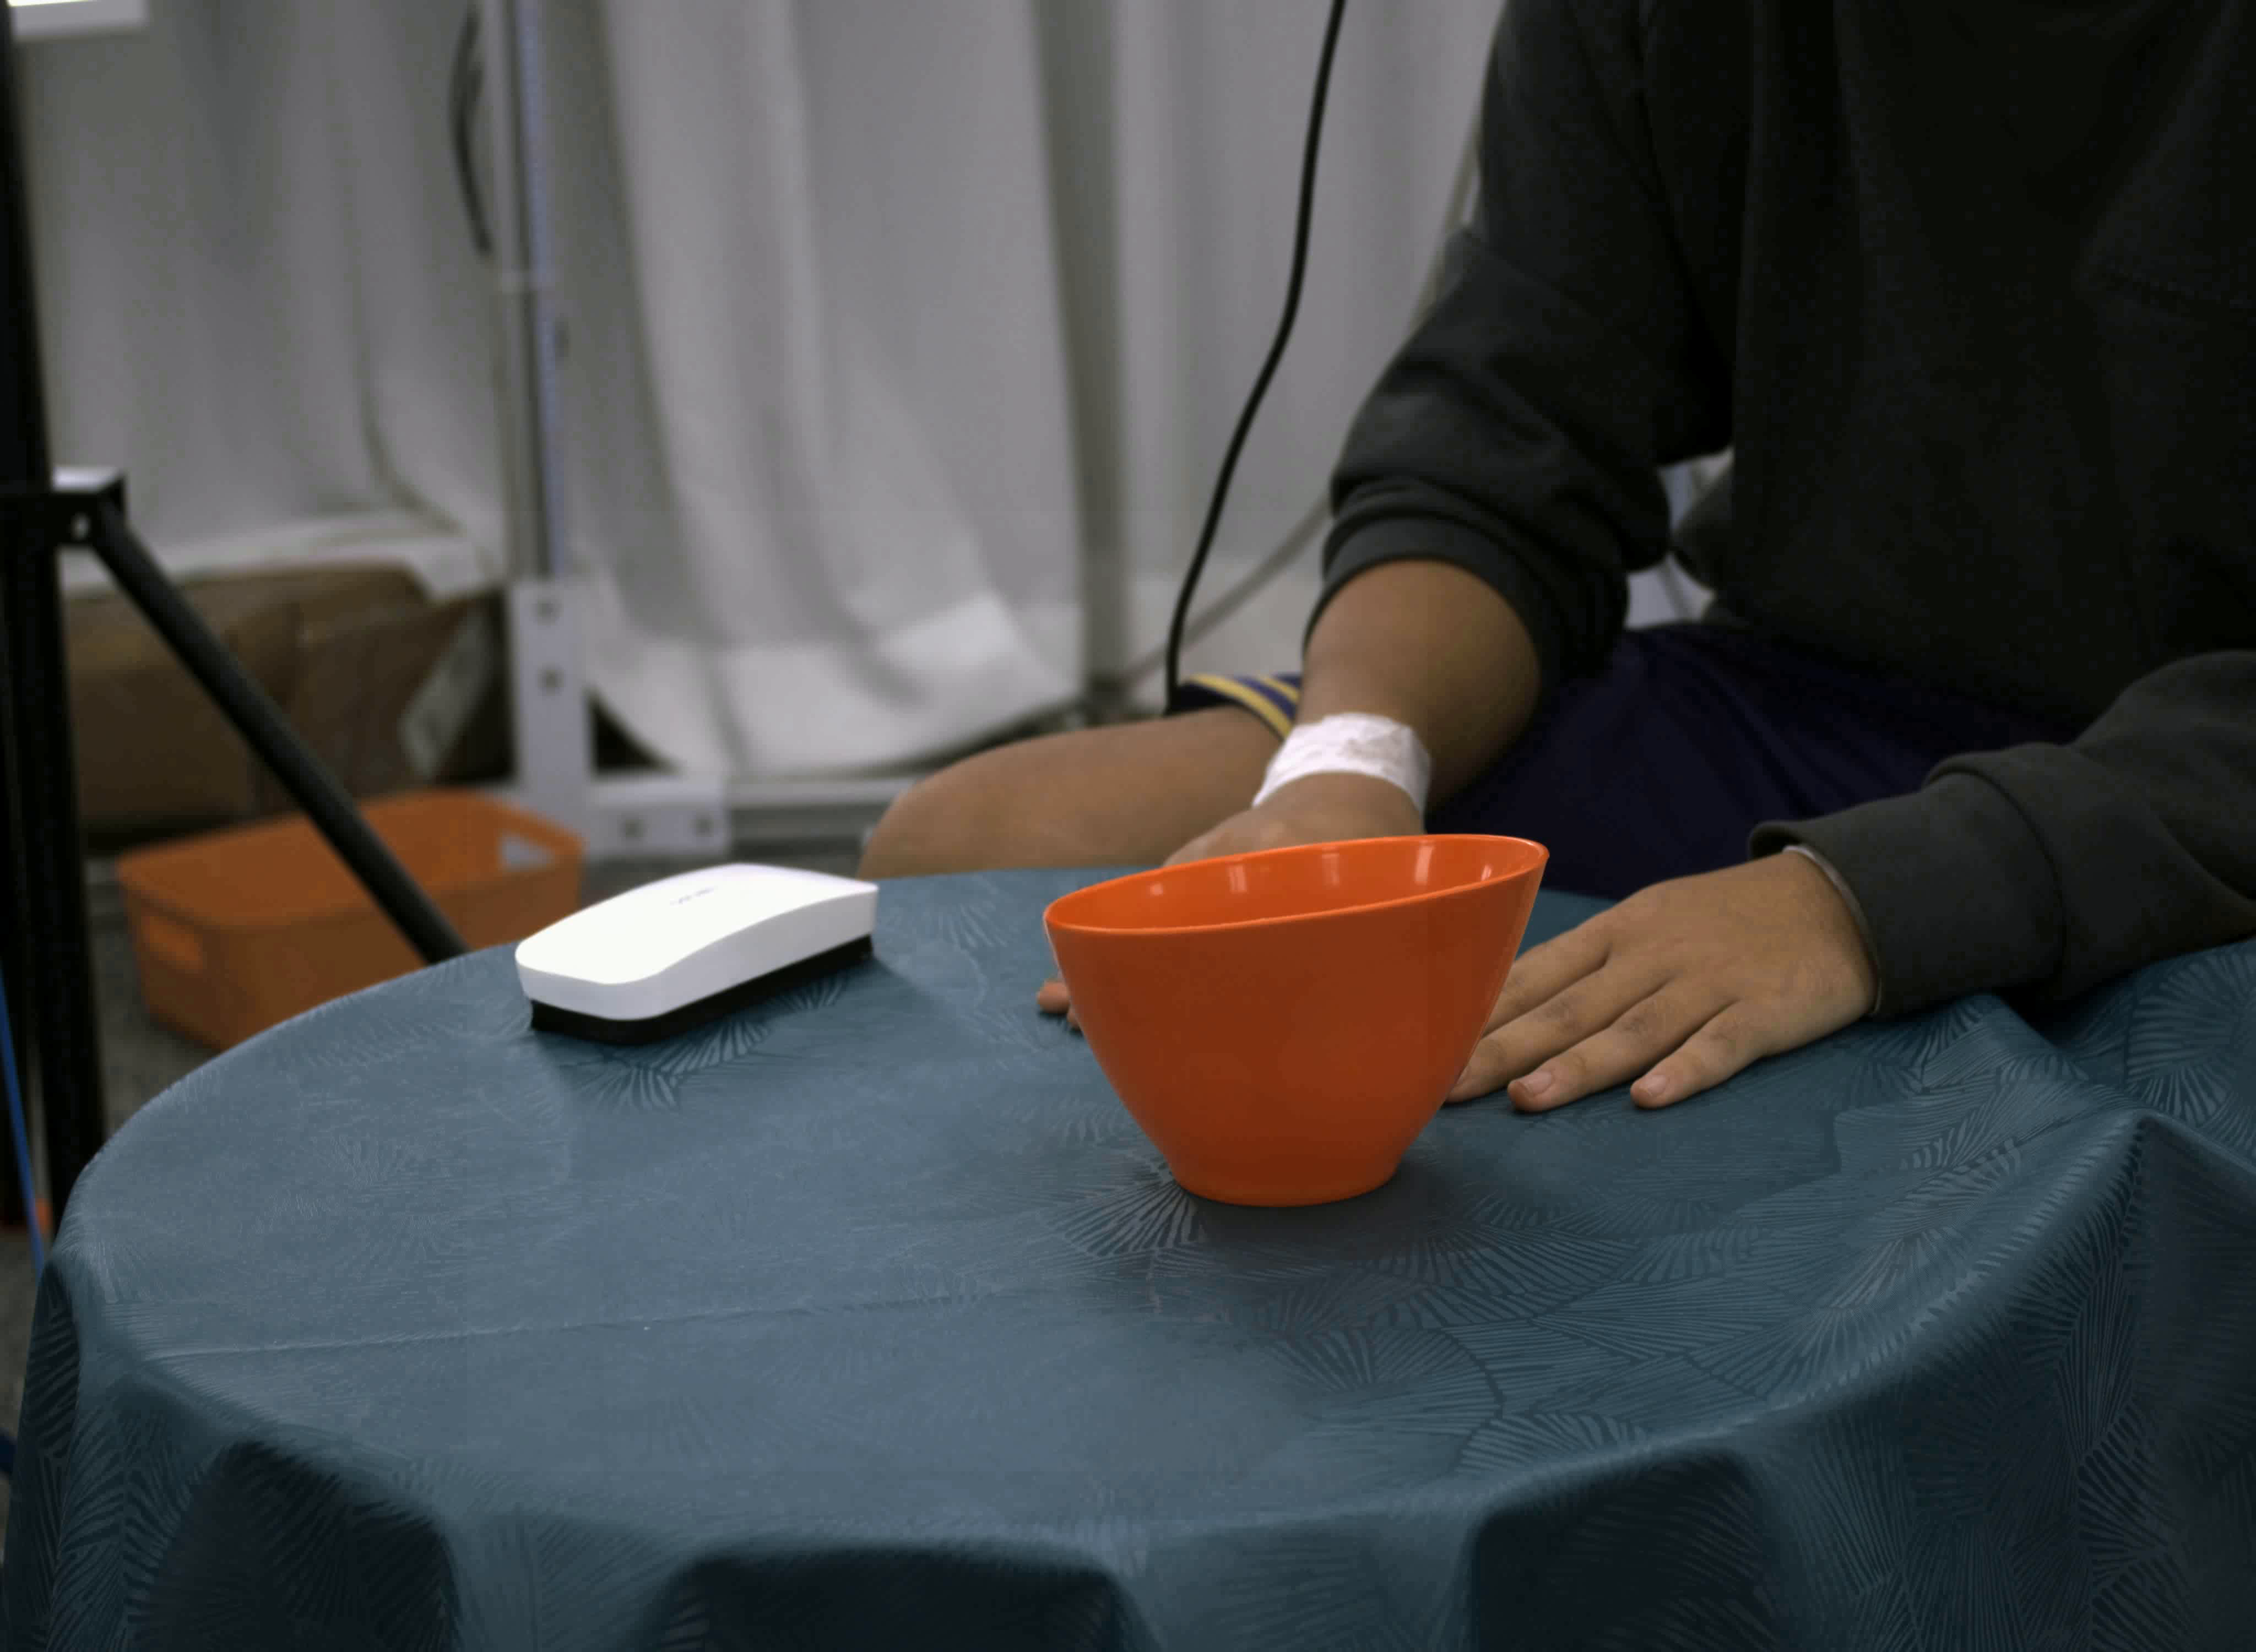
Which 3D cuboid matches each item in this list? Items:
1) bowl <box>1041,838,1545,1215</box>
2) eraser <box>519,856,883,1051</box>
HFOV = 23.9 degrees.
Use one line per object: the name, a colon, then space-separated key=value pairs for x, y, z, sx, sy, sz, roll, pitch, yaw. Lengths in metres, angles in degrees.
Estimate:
bowl: x=0.049 y=0.057 z=1.549 sx=0.147 sy=0.104 sz=0.149 roll=-3 pitch=15 yaw=-1
eraser: x=-0.139 y=0.039 z=1.769 sx=0.065 sy=0.034 sz=0.128 roll=12 pitch=23 yaw=39
